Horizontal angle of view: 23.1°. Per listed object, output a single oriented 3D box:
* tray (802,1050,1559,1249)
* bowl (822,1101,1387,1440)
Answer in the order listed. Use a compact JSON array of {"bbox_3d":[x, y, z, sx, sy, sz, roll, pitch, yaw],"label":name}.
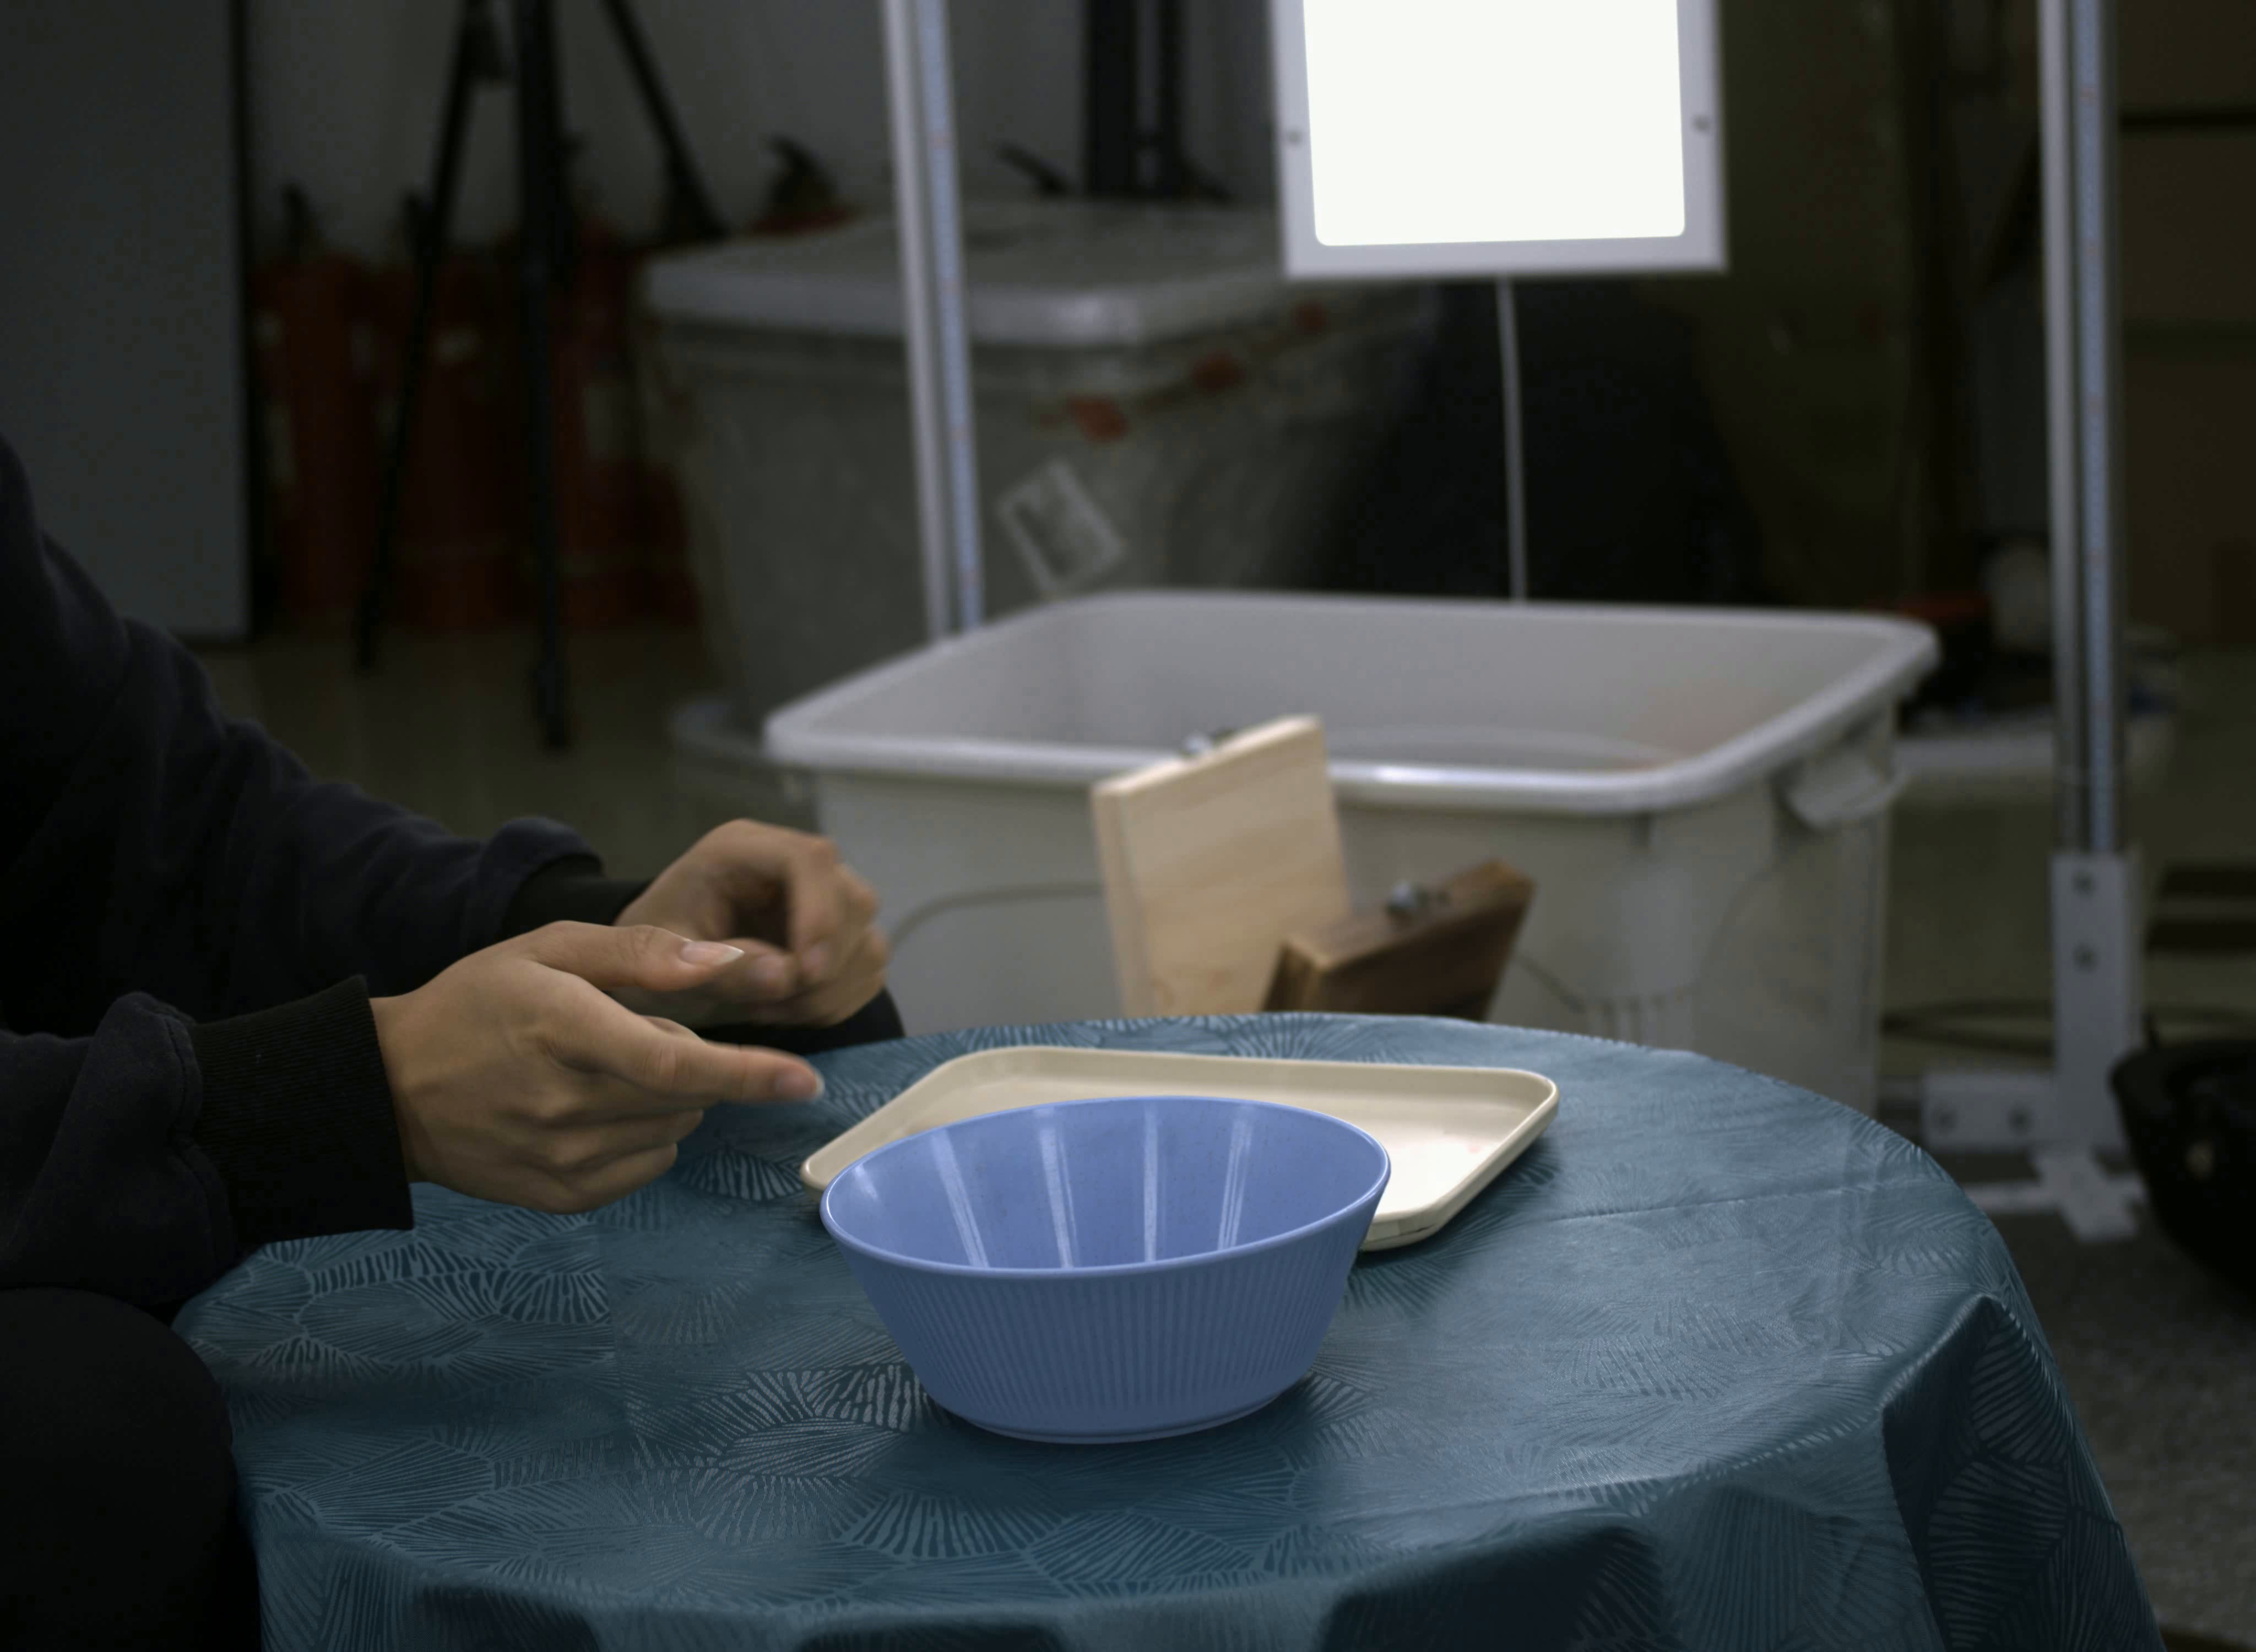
[{"bbox_3d":[0.020,0.112,1.912,0.243,0.017,0.168,1,15,25],"label":"tray"},{"bbox_3d":[-0.005,0.139,1.697,0.175,0.070,0.176,-5,13,0],"label":"bowl"}]
